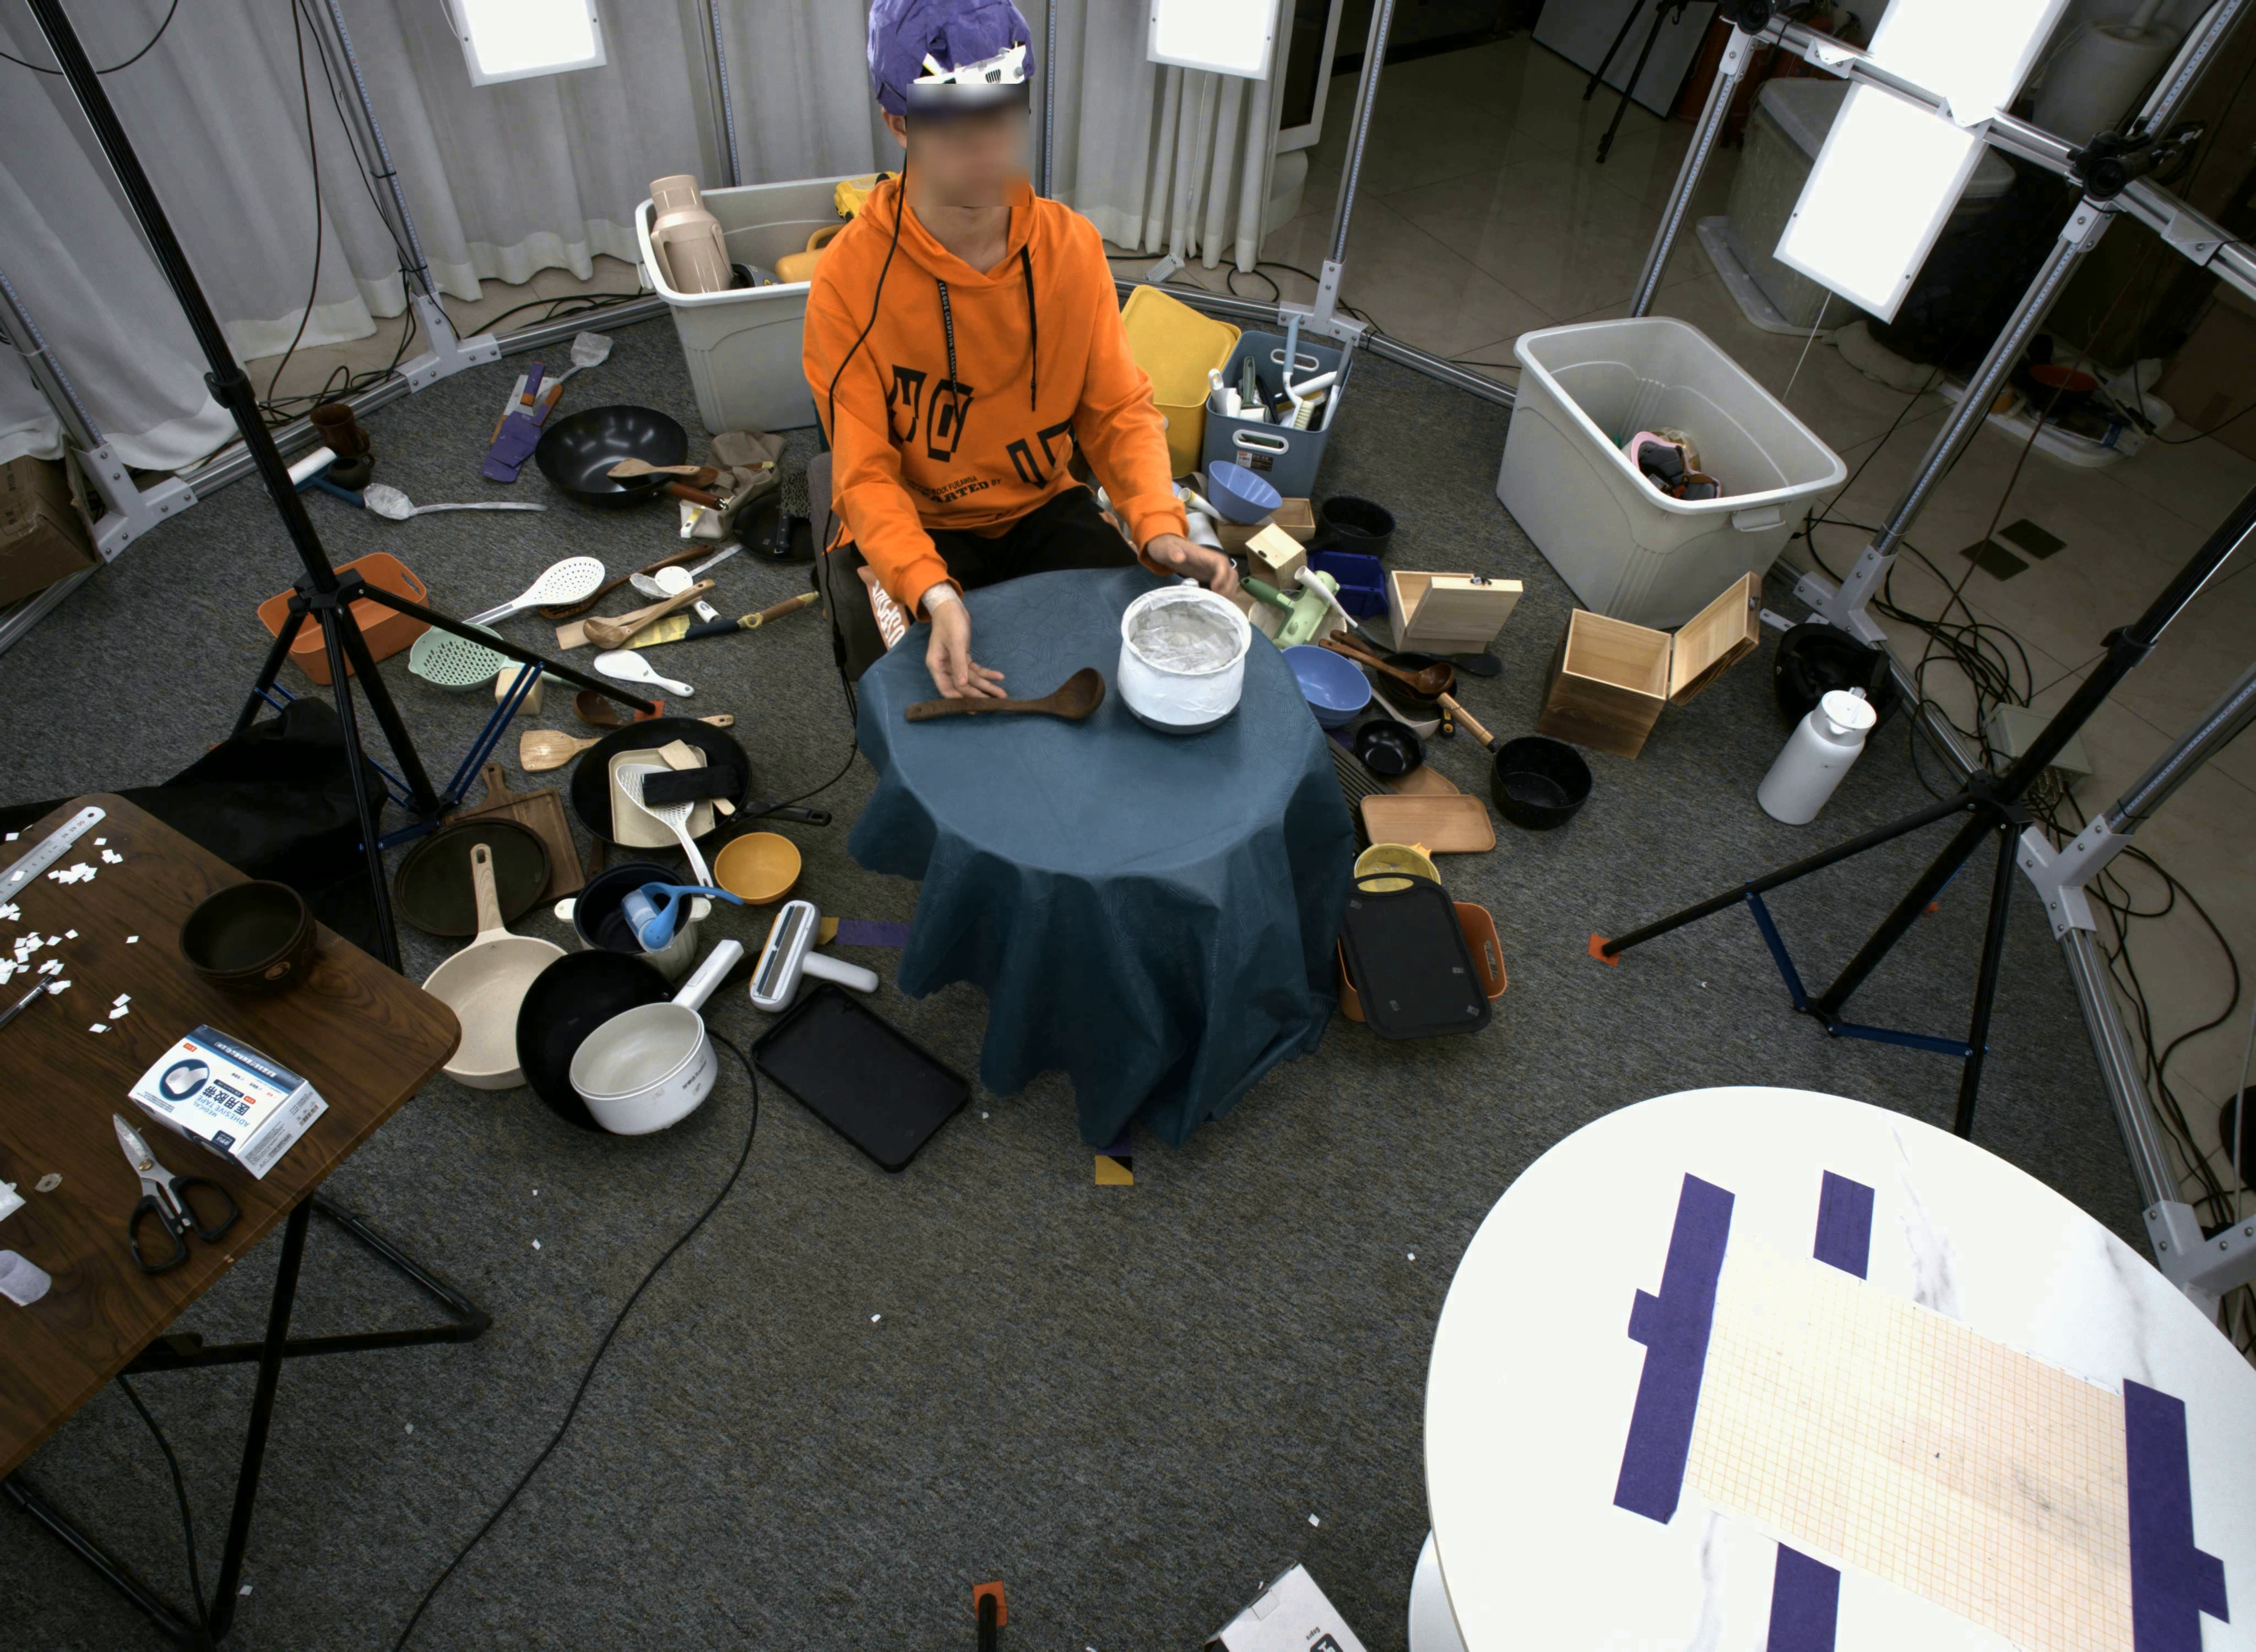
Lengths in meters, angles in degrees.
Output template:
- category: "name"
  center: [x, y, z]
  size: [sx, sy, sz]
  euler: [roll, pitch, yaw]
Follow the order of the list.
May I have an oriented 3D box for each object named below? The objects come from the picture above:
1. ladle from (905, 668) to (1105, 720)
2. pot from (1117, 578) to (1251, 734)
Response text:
- category: "ladle"
  center: [-0.168, -0.179, 1.766]
  size: [0.273, 0.069, 0.078]
  euler: [-2, 52, -8]
- category: "pot"
  center: [0.077, -0.248, 1.800]
  size: [0.178, 0.133, 0.239]
  euler: [5, 49, 0]
